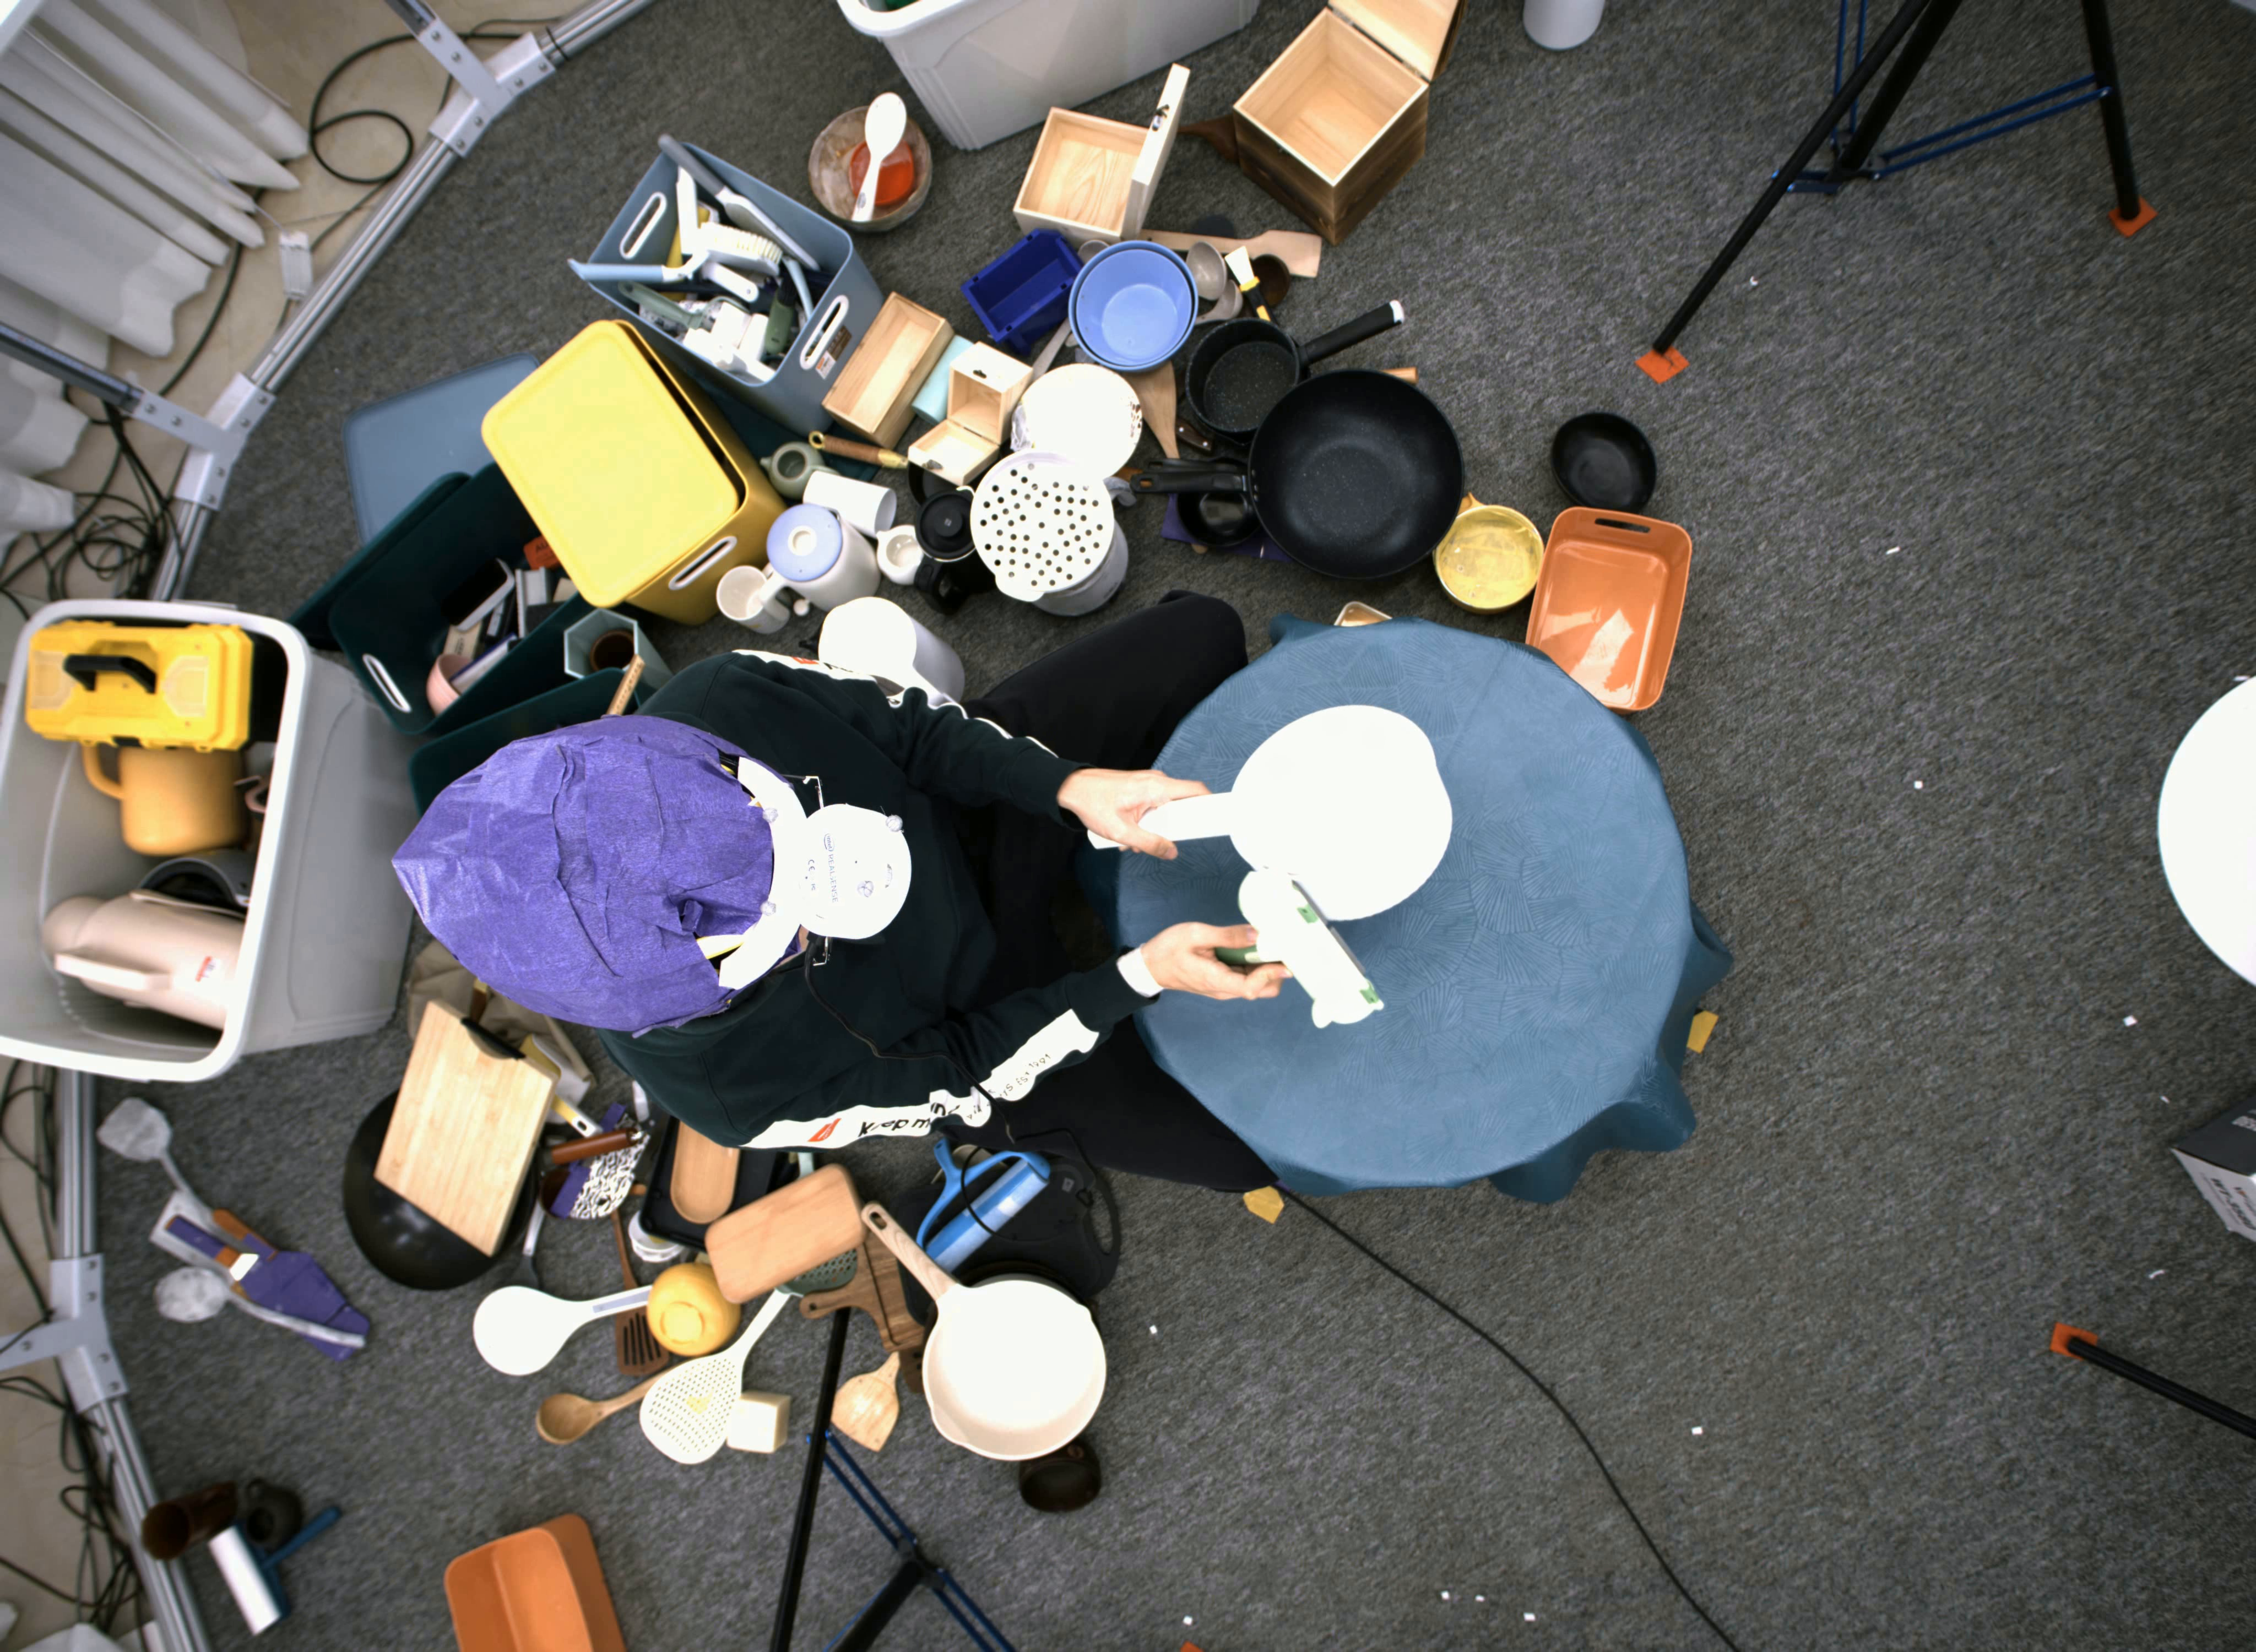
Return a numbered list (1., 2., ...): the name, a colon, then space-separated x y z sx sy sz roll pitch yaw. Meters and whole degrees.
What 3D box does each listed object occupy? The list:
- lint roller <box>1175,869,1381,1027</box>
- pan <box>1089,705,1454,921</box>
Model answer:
1. lint roller: 0.117 0.126 1.299 0.185 0.201 0.080 -11 49 32
2. pan: 0.138 0.001 1.337 0.358 0.103 0.196 -8 52 29
